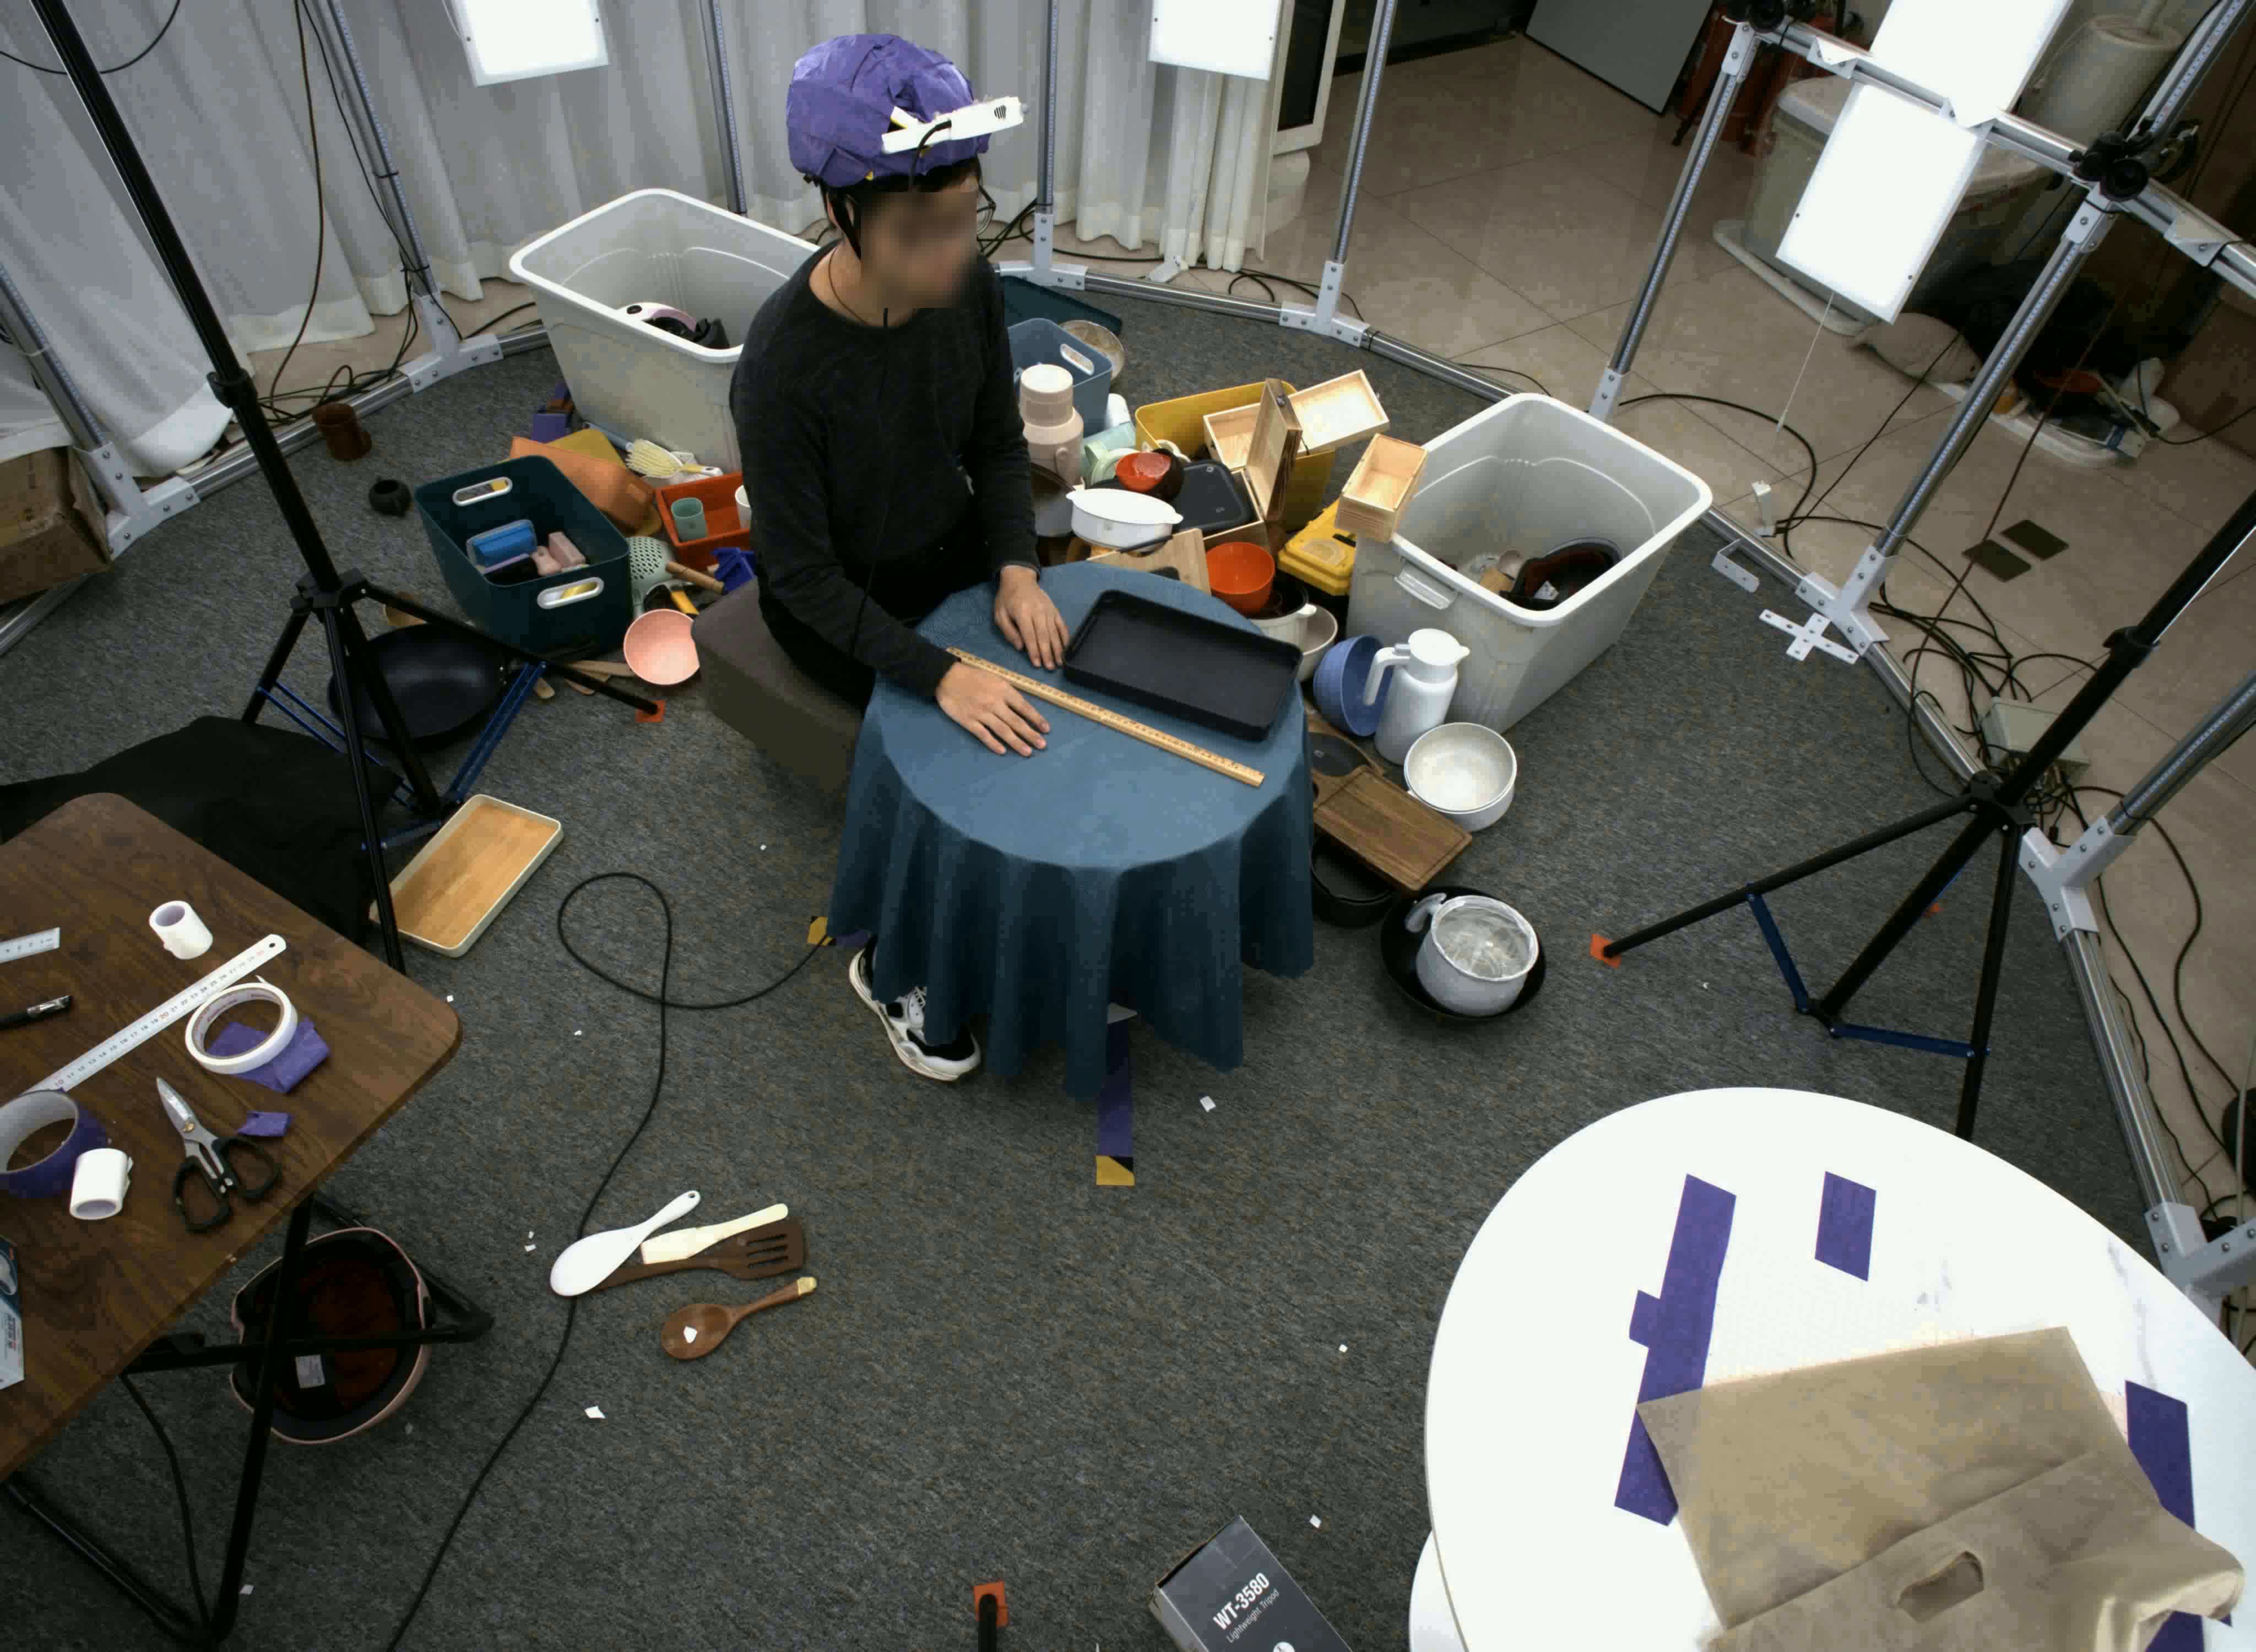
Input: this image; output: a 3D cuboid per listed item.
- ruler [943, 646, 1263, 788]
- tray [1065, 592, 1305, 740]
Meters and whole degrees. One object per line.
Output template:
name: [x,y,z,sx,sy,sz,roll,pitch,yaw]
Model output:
ruler: [-0.041,-0.157,1.800,0.504,0.006,0.027,24,49,16]
tray: [0.083,-0.234,1.856,0.319,0.036,0.188,18,50,12]
